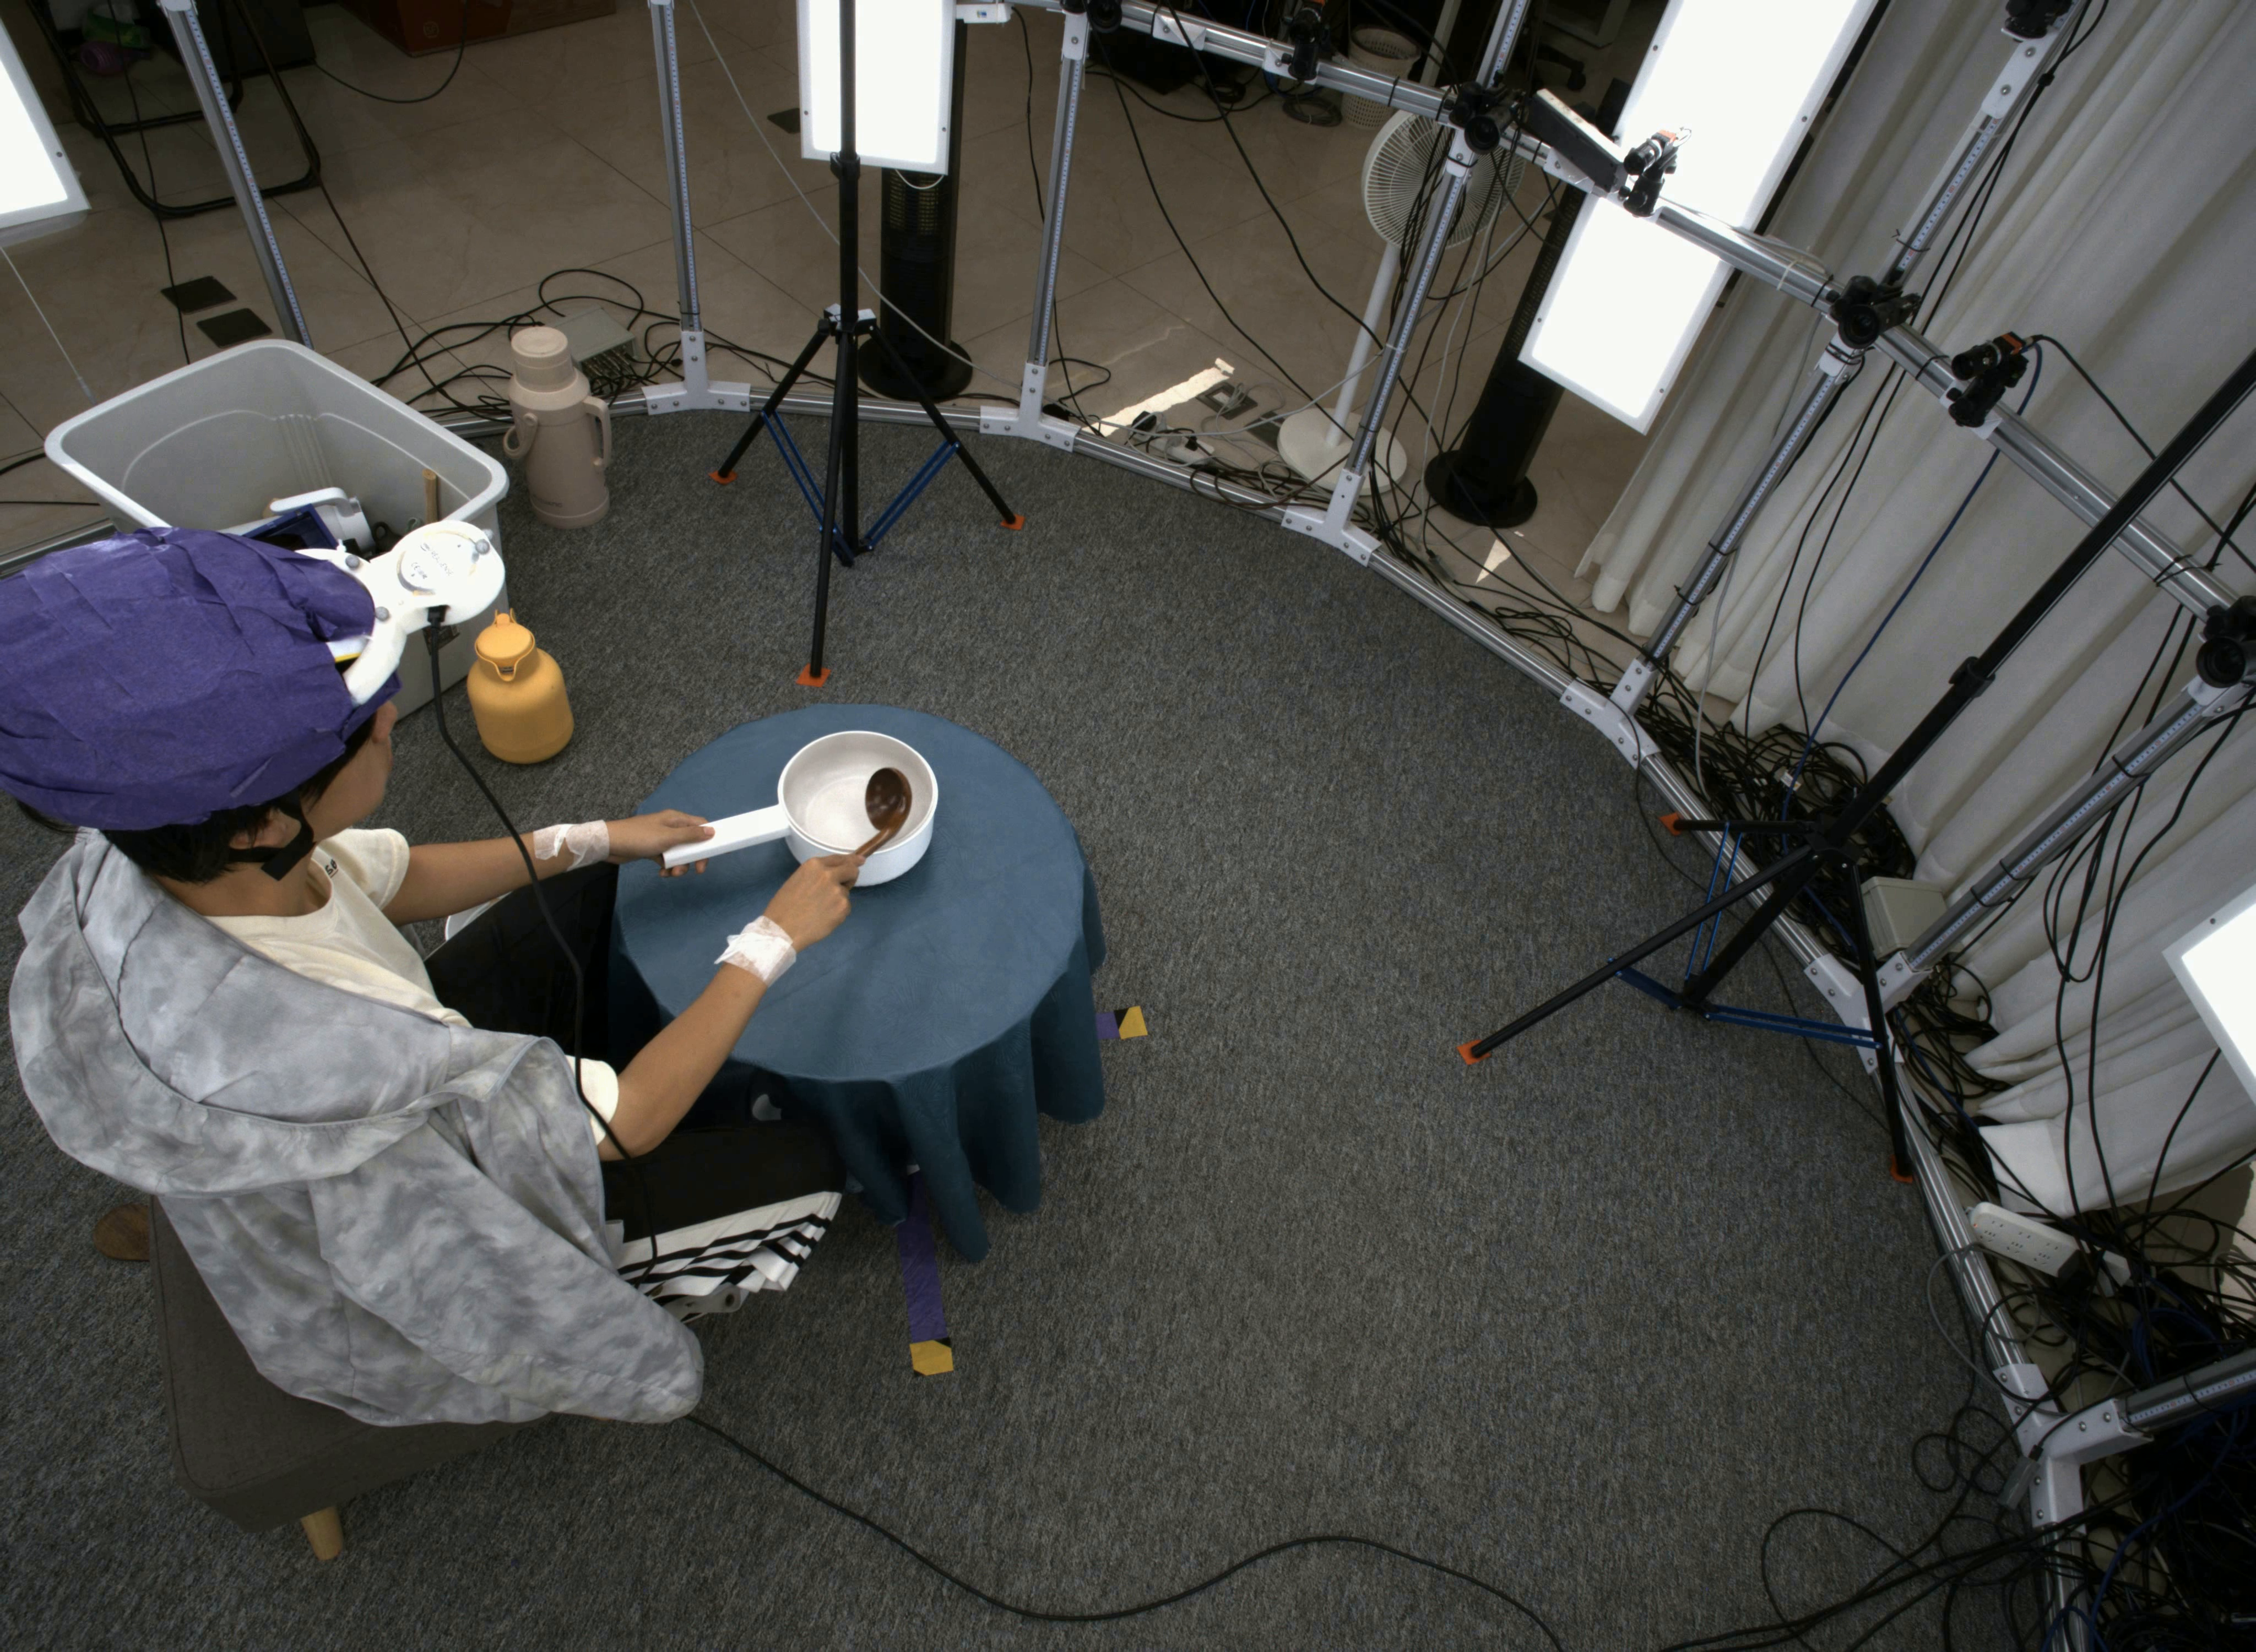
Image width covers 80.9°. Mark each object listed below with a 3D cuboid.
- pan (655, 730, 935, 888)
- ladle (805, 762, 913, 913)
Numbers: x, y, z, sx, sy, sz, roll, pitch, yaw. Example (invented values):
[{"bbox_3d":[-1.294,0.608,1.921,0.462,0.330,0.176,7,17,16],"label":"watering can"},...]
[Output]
[{"bbox_3d":[-0.420,0.003,1.661,0.356,0.104,0.196,-17,60,-24],"label":"pan"},{"bbox_3d":[-0.331,0.007,1.540,0.076,0.083,0.272,34,33,2],"label":"ladle"}]
